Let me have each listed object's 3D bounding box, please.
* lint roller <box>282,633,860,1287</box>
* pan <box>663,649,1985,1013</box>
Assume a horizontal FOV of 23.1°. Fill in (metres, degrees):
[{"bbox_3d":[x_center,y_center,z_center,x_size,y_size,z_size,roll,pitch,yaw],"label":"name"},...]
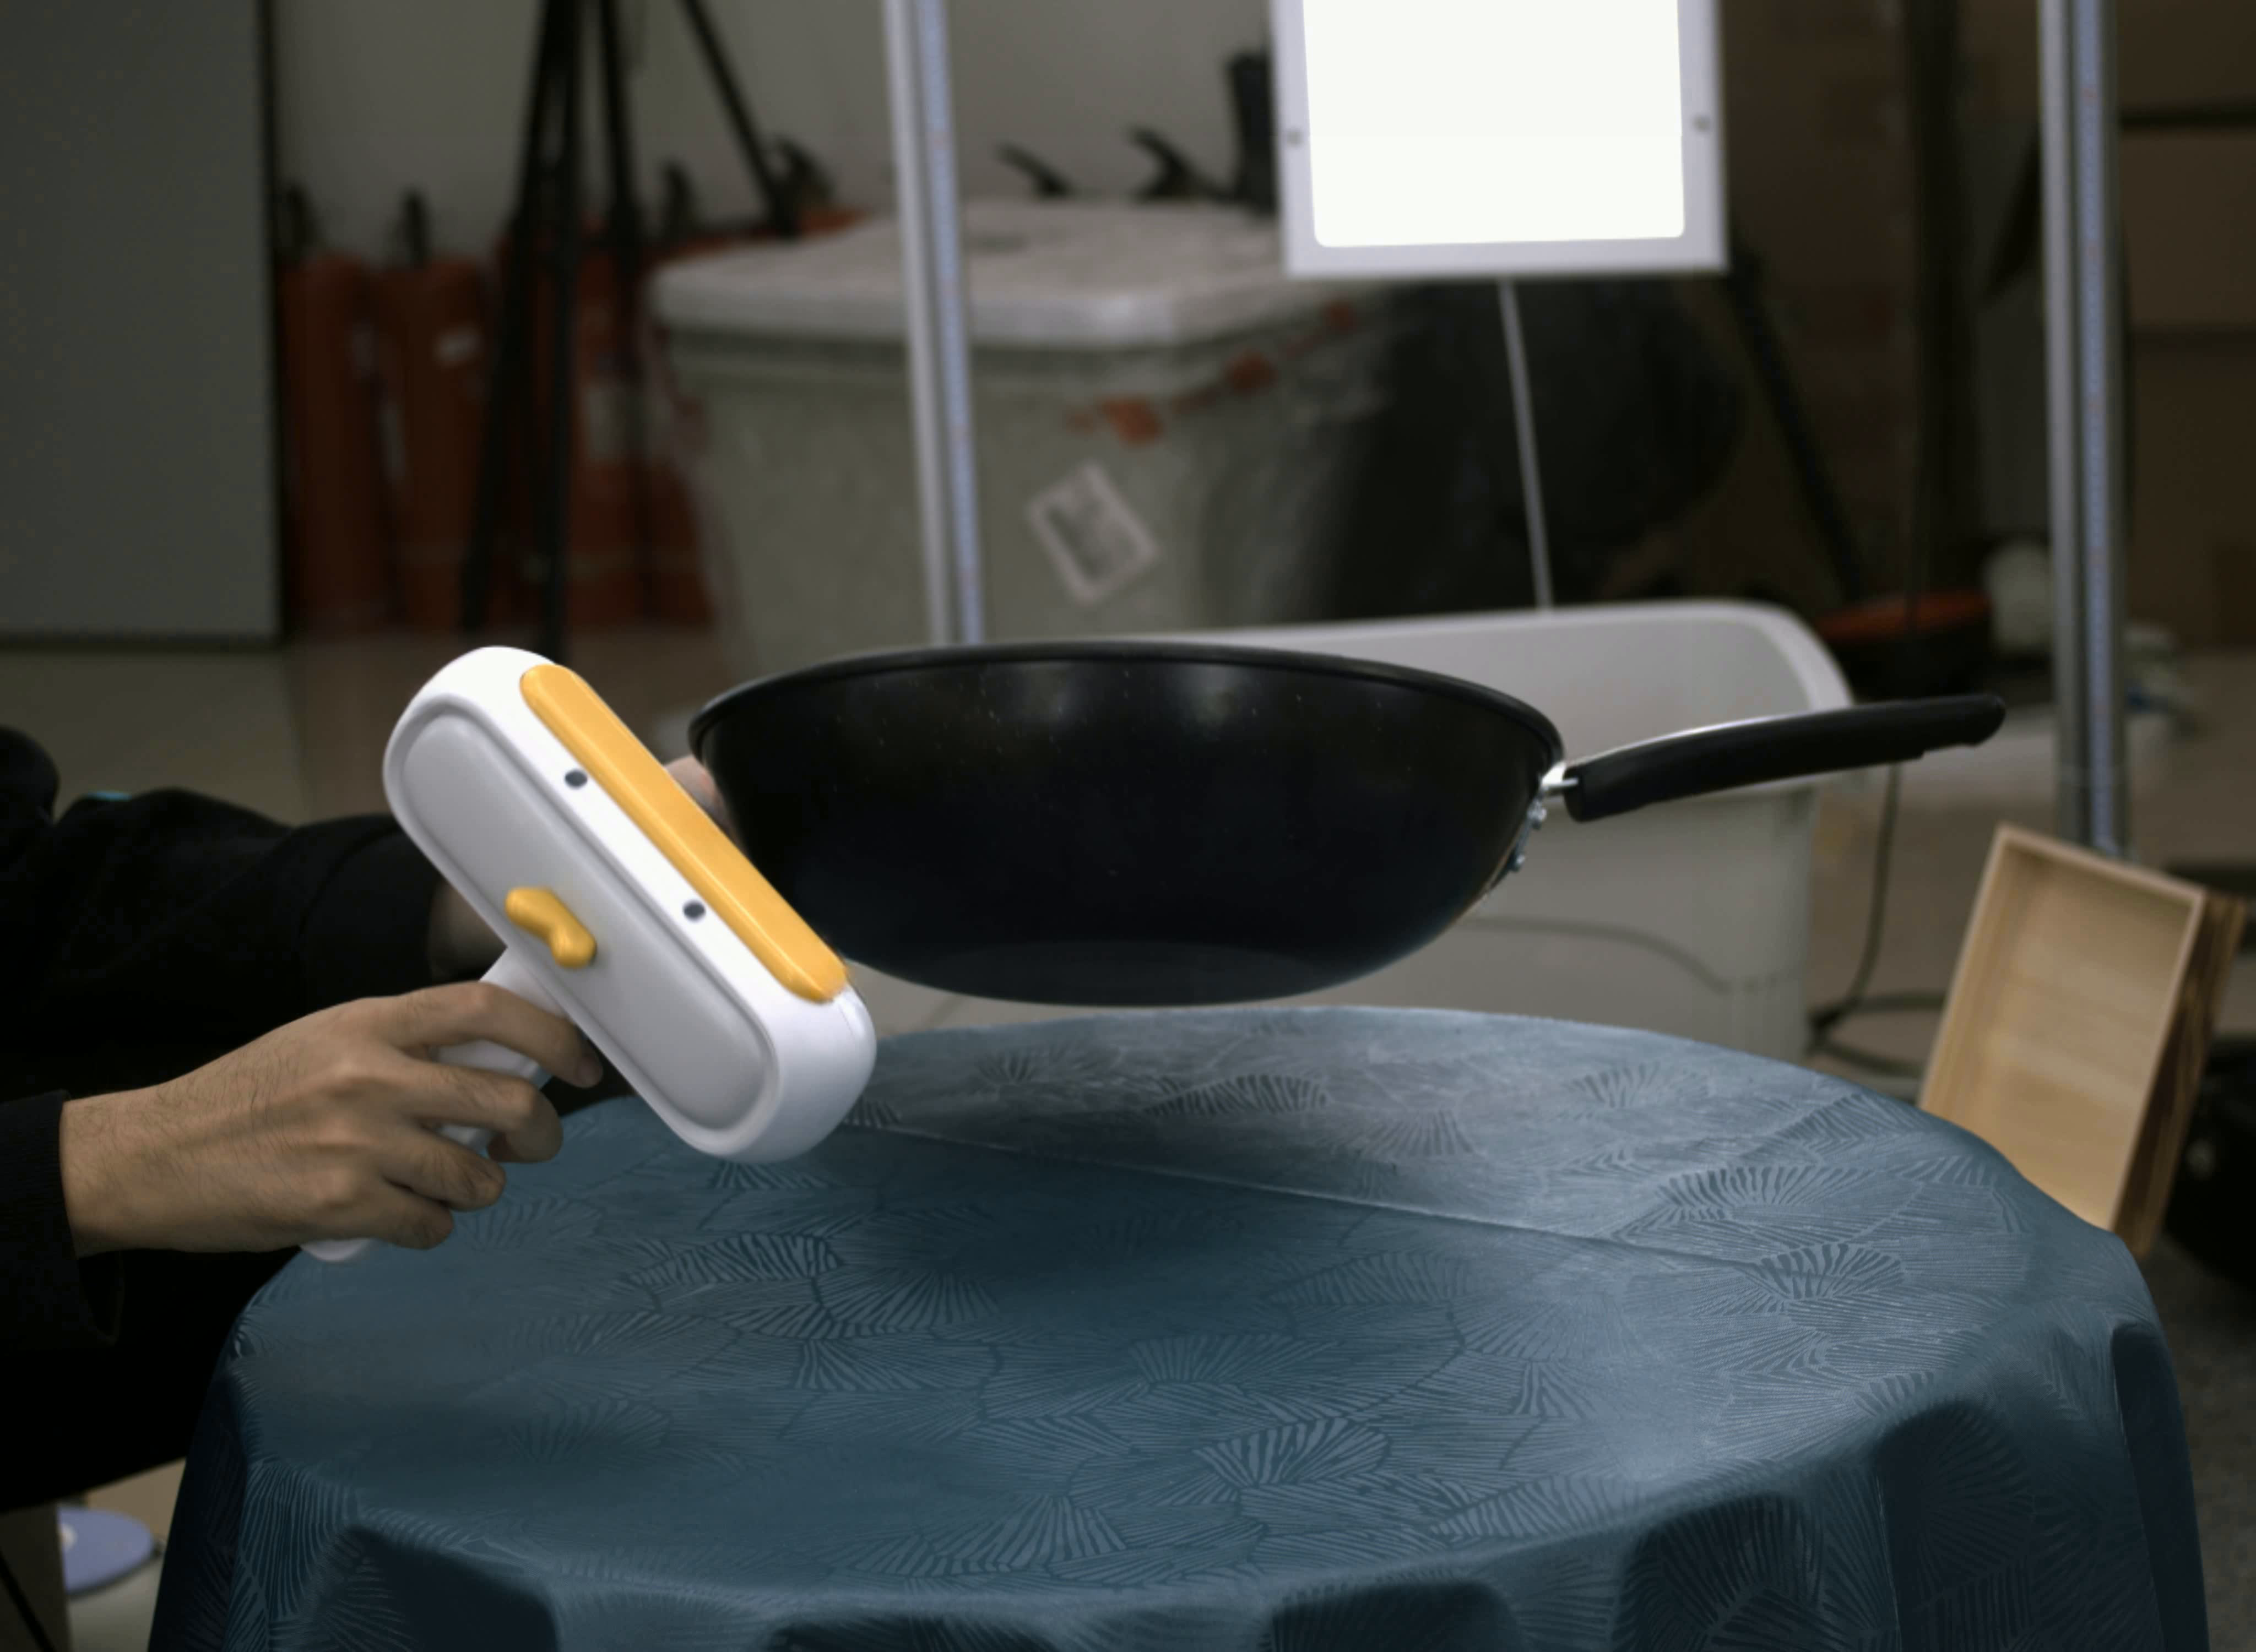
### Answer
[{"bbox_3d":[-0.197,0.064,1.740,0.194,0.195,0.072,42,23,16],"label":"lint roller"},{"bbox_3d":[0.074,0.003,1.938,0.473,0.112,0.312,2,-11,-6],"label":"pan"}]
